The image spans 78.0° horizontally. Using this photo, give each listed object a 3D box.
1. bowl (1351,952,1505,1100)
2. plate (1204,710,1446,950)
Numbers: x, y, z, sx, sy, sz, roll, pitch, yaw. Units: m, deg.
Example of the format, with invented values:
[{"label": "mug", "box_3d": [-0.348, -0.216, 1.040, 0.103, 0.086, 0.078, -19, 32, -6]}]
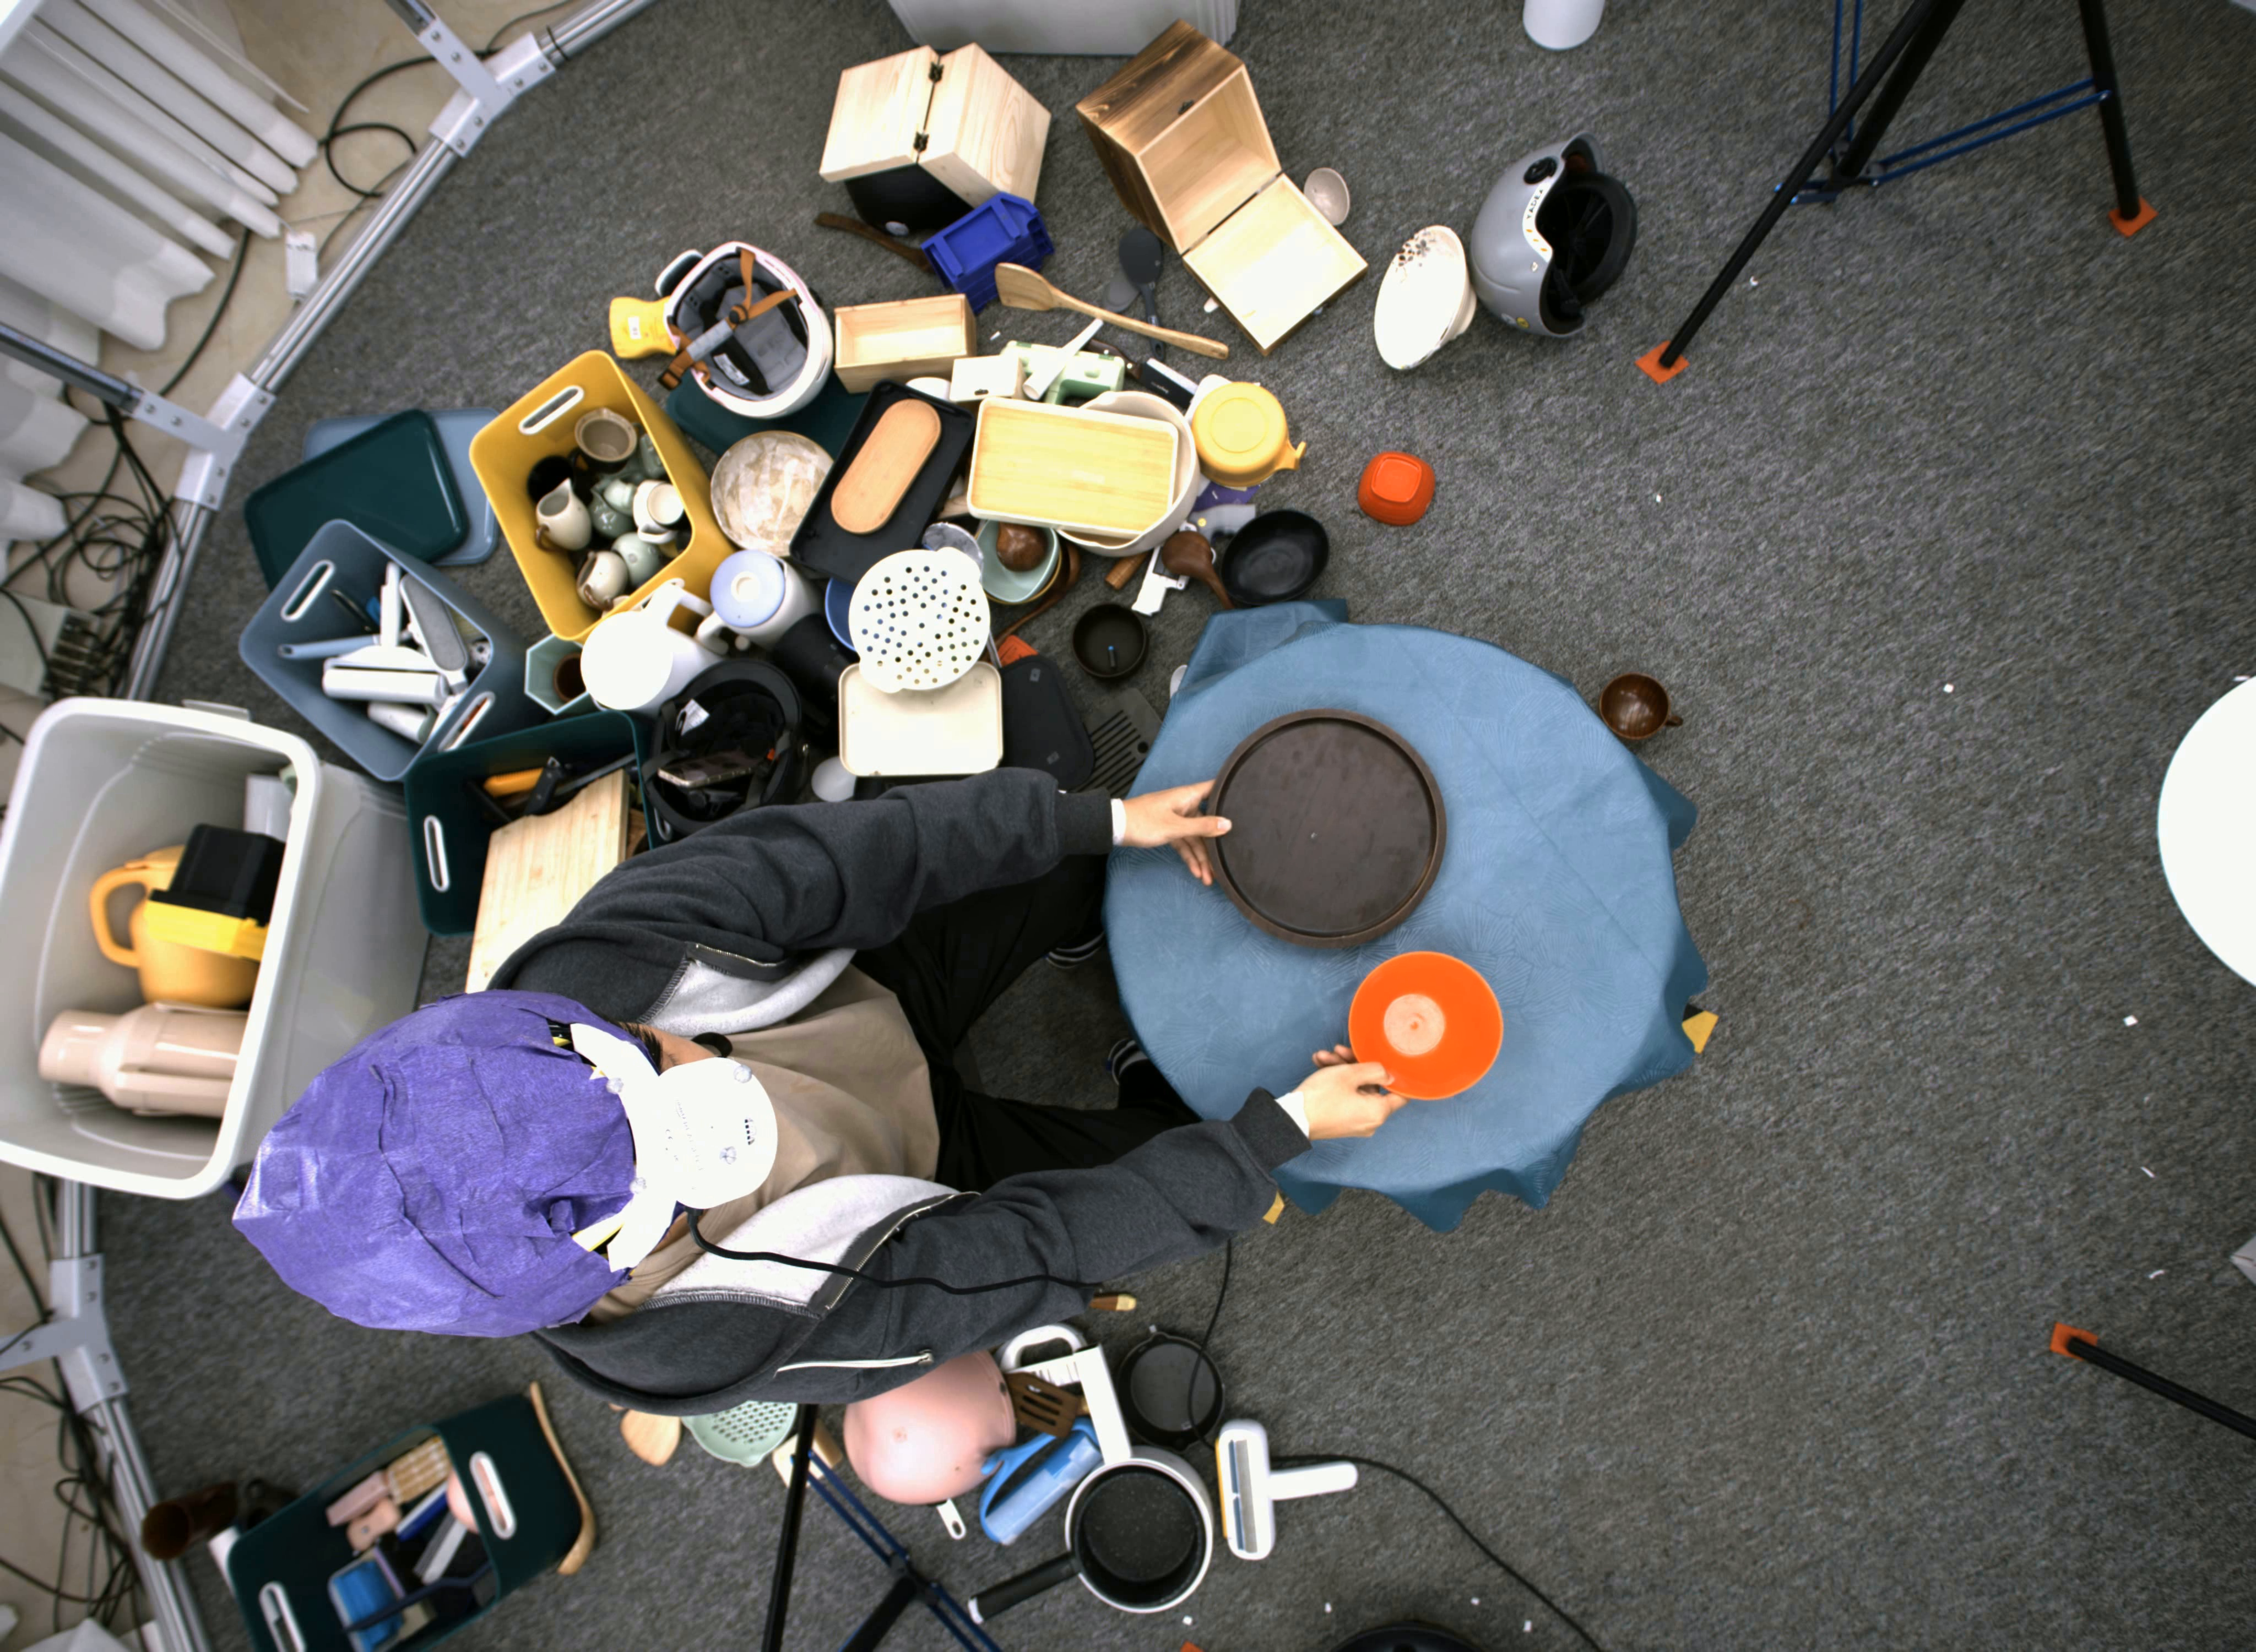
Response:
[{"label": "bowl", "box_3d": [0.297, 0.194, 1.386, 0.148, 0.104, 0.148, 0, 92, 8]}, {"label": "plate", "box_3d": [0.206, 0.002, 1.449, 0.255, 0.029, 0.254, 0, 88, 2]}]
